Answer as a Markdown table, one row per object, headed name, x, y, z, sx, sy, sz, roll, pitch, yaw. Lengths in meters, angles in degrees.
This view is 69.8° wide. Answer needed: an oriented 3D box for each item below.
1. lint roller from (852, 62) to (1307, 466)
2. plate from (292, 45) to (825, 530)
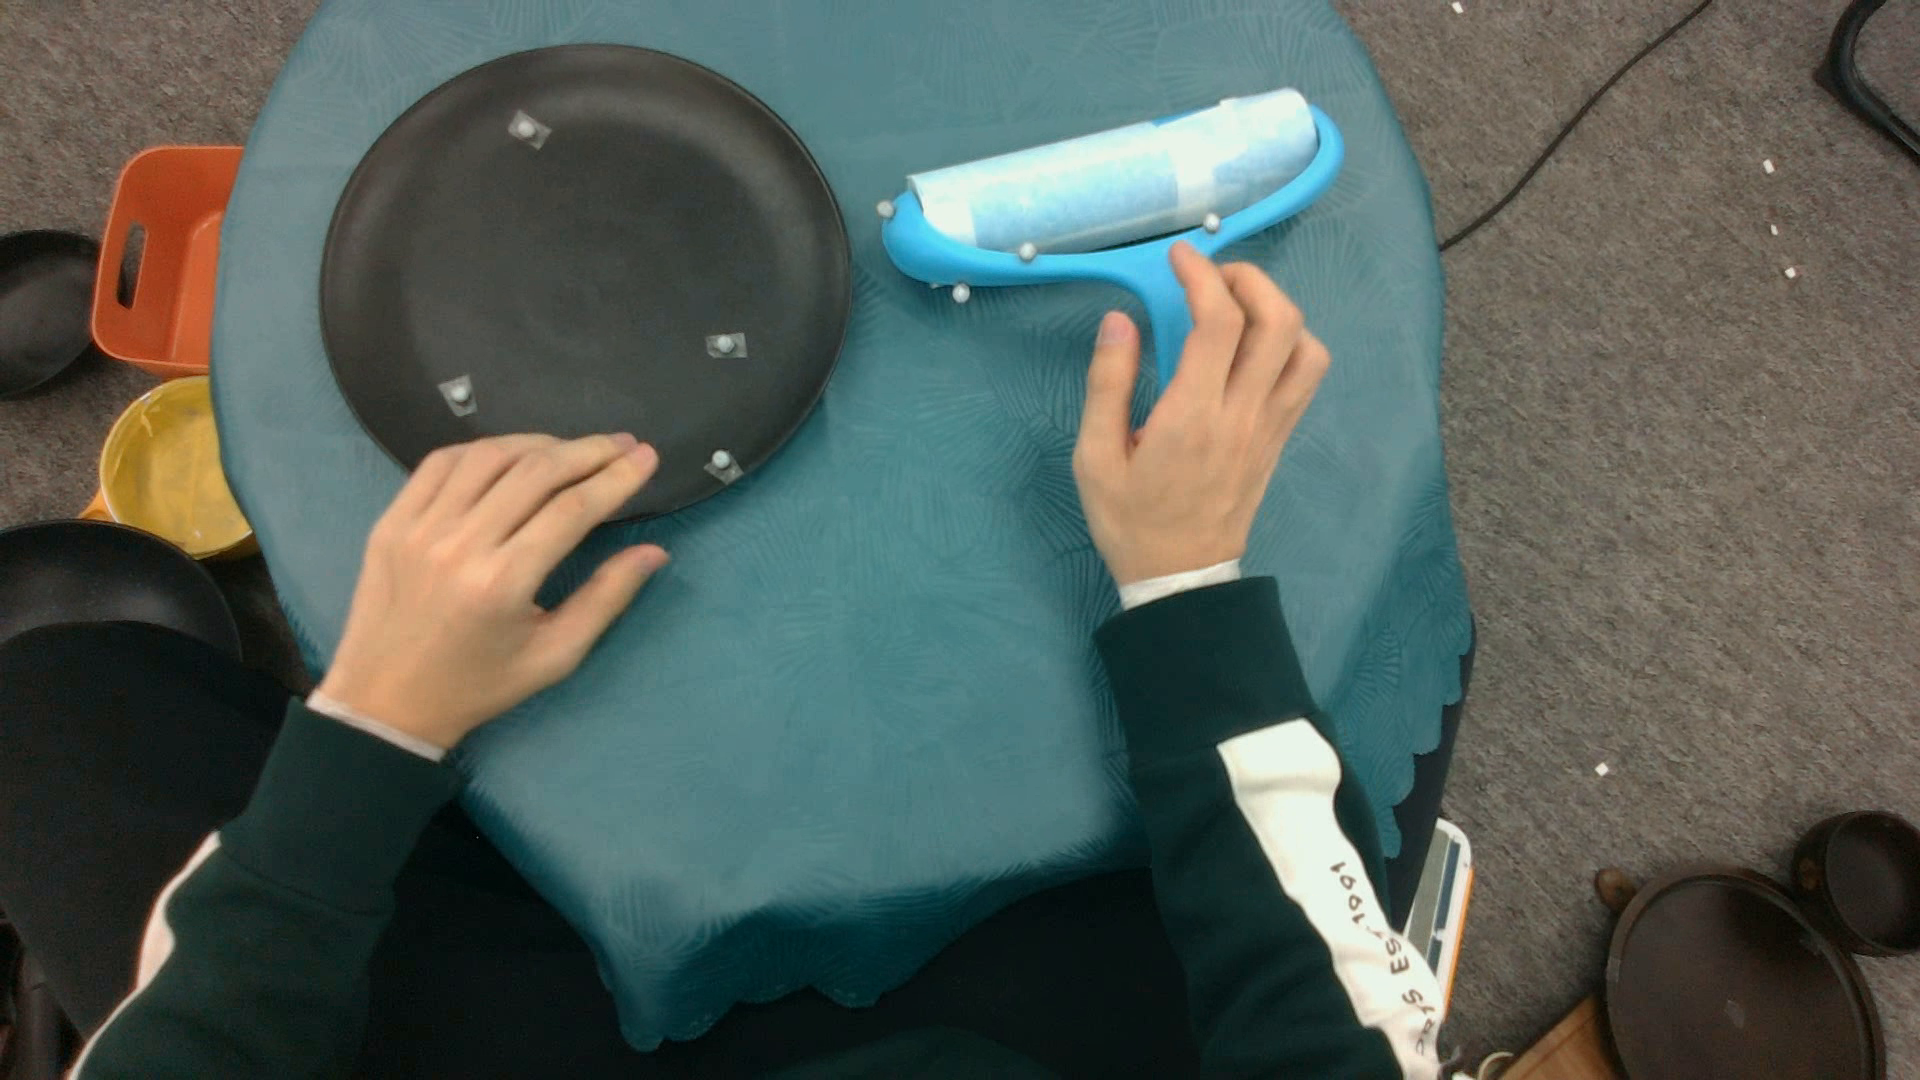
| name | x | y | z | sx | sy | sz | roll | pitch | yaw |
| --- | --- | --- | --- | --- | --- | --- | --- | --- | --- |
| lint roller | 0.079 | -0.127 | 0.658 | 0.229 | 0.068 | 0.180 | -19 | 79 | -10 |
| plate | -0.186 | -0.121 | 0.651 | 0.244 | 0.023 | 0.245 | 1 | 76 | -5 |
